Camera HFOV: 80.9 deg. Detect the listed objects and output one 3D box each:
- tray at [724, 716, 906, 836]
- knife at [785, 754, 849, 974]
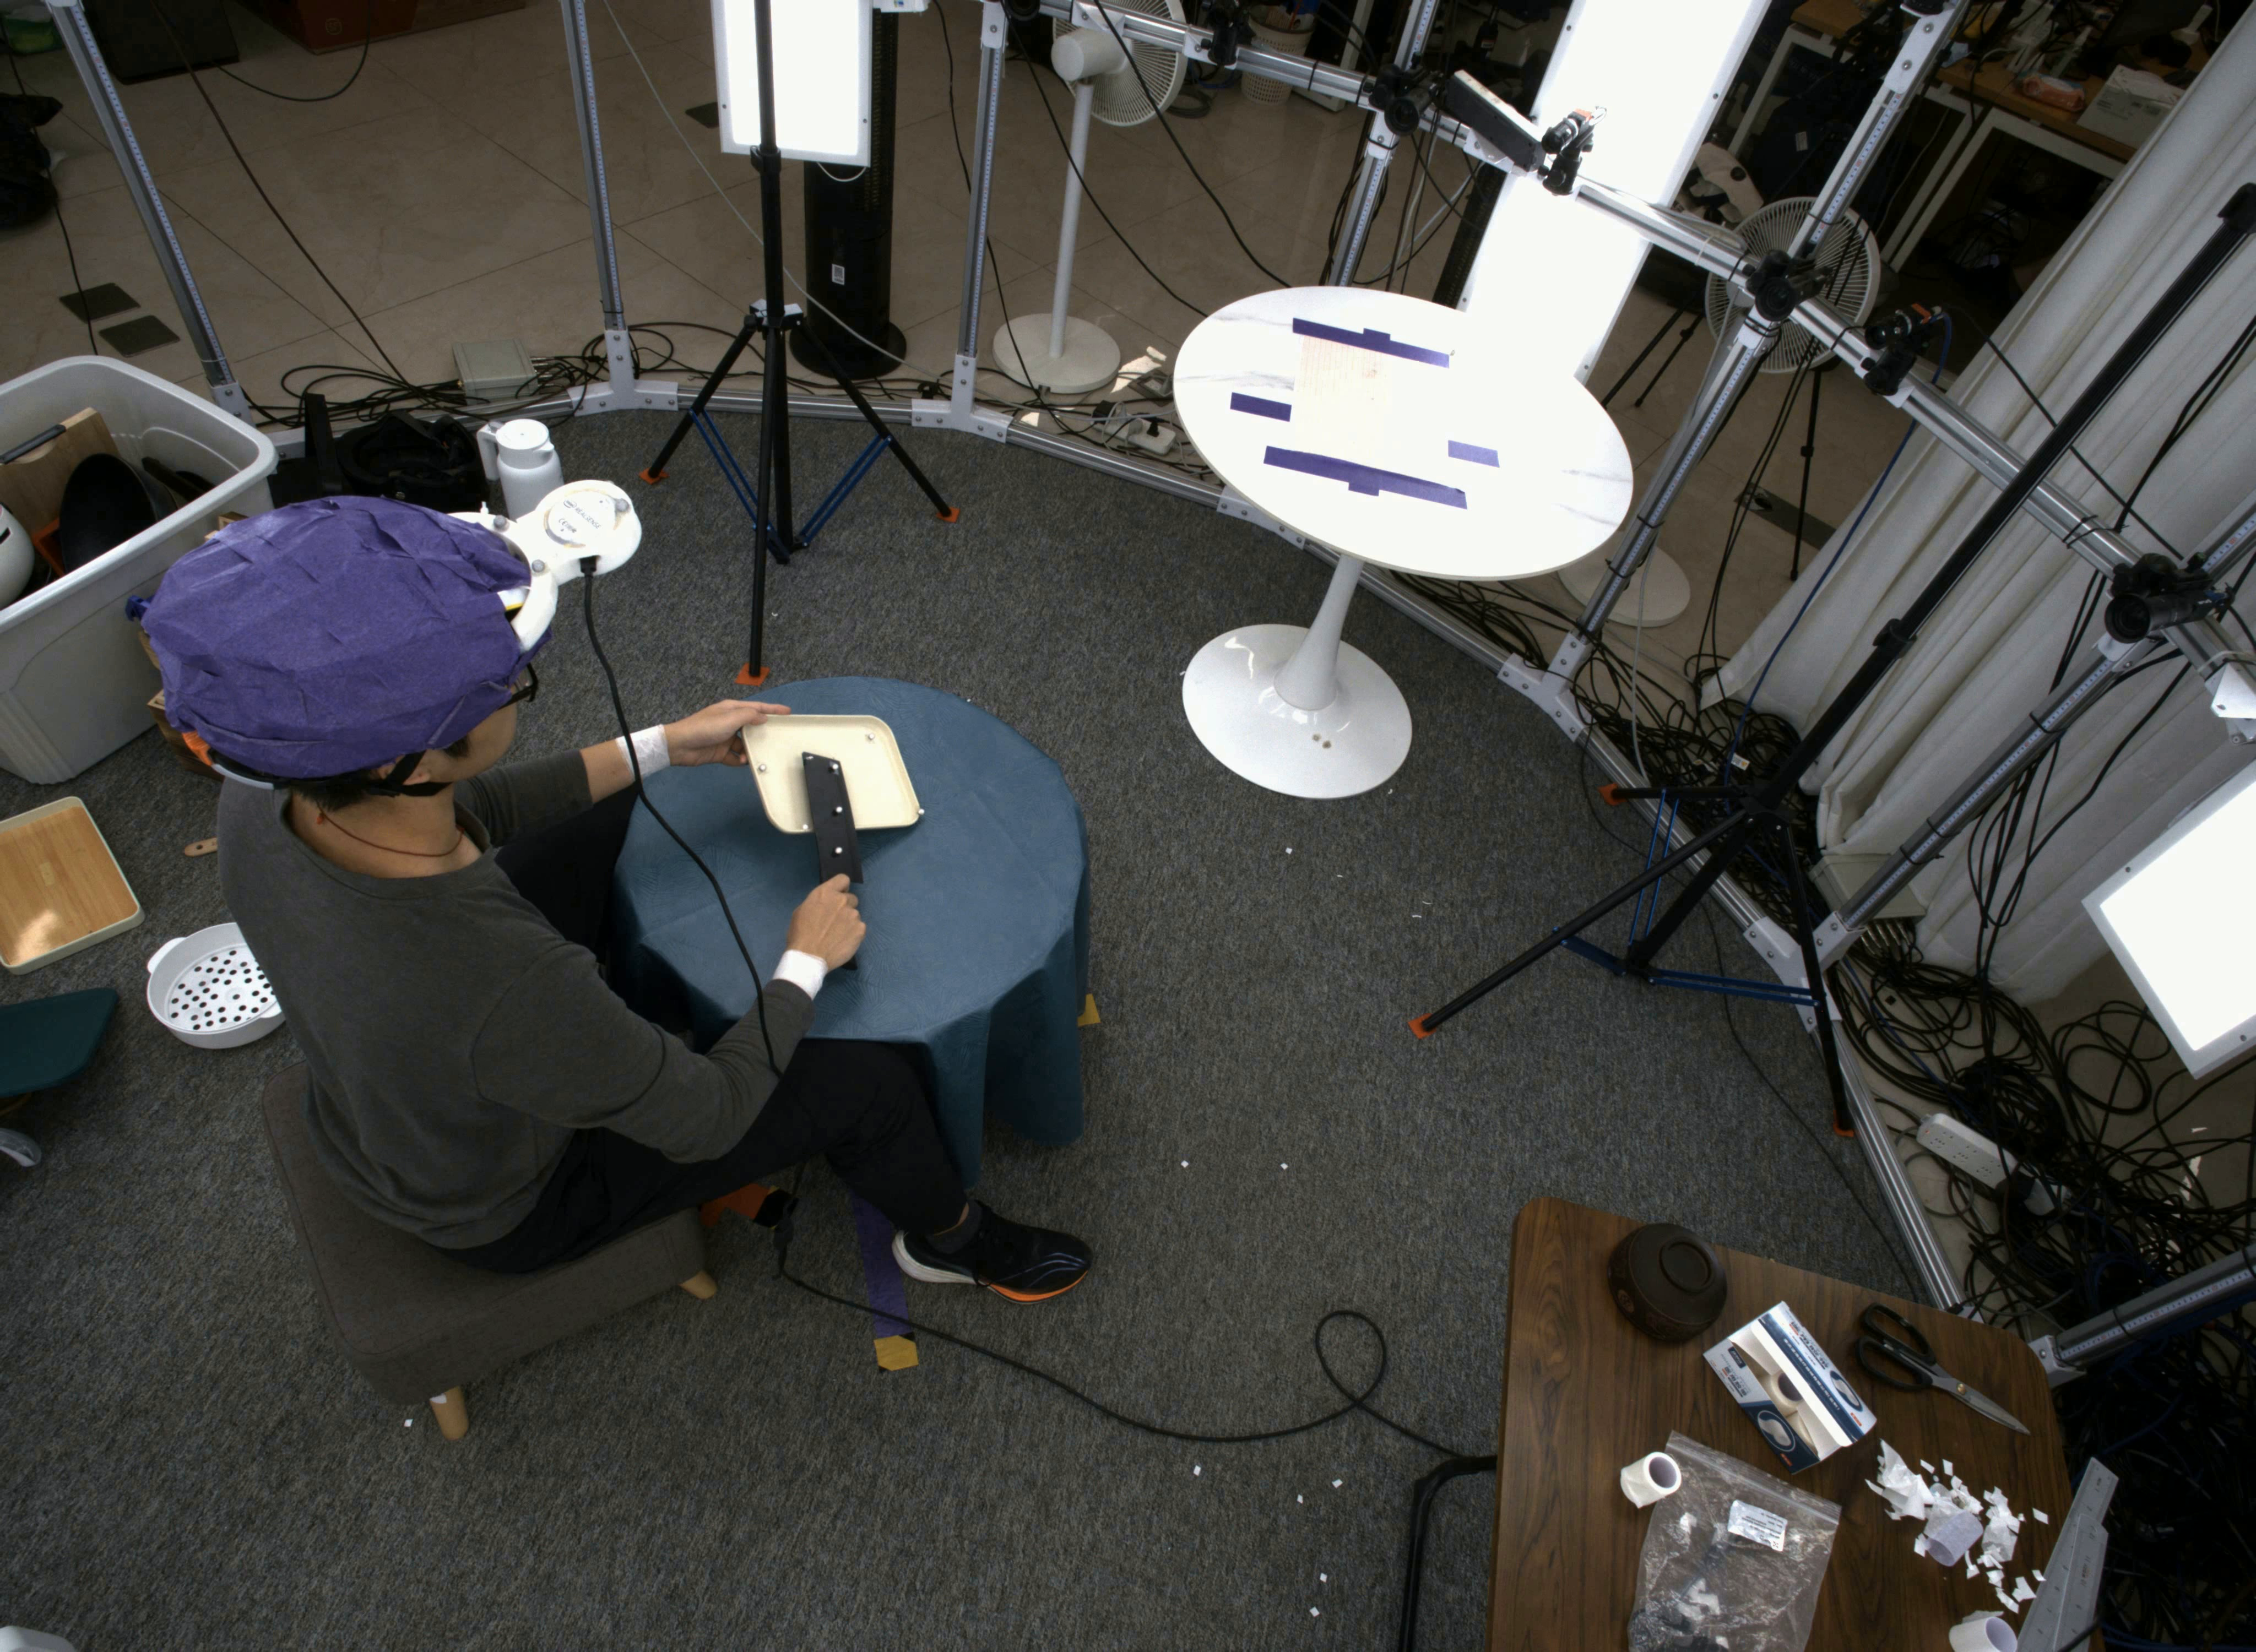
[{"bbox_3d":[-0.408,-0.068,1.698,0.244,0.017,0.170,-6,68,-50],"label":"tray"},{"bbox_3d":[-0.383,0.041,1.628,0.083,0.020,0.297,17,51,-47],"label":"knife"}]
